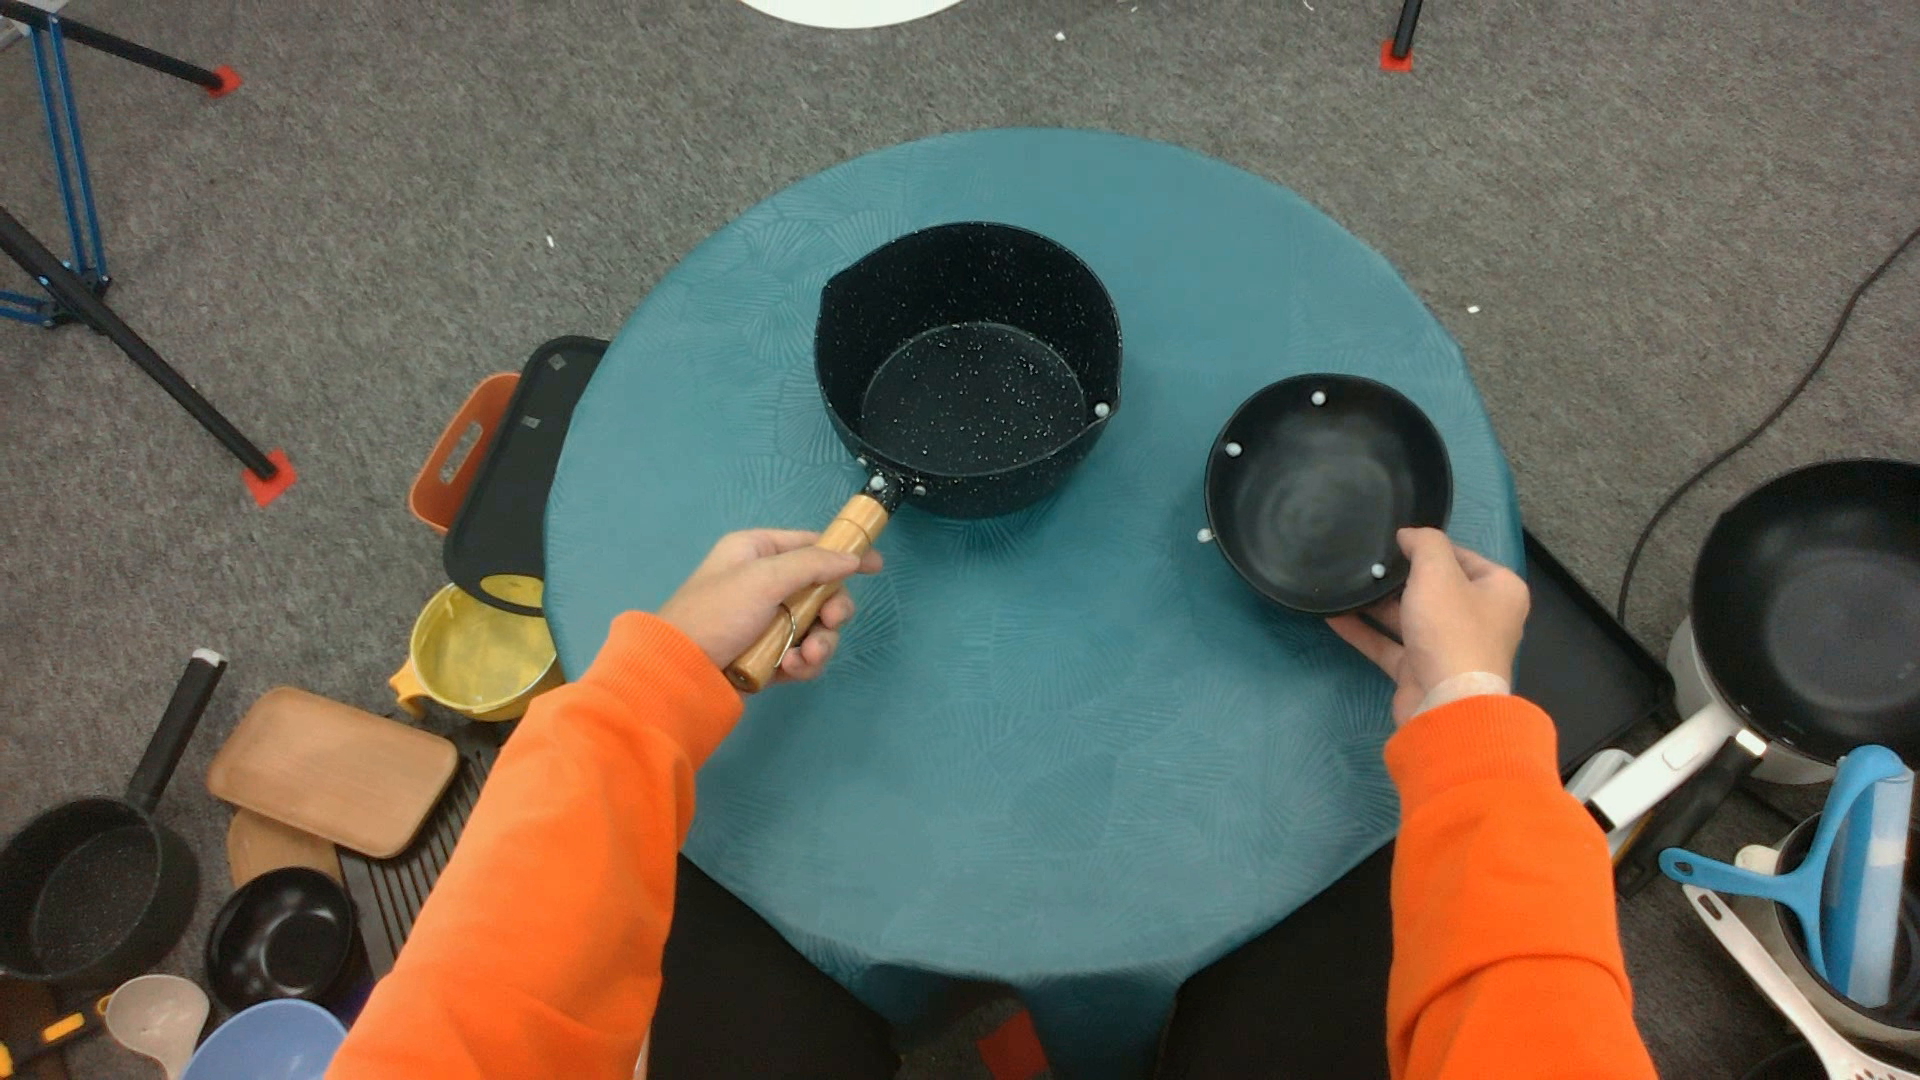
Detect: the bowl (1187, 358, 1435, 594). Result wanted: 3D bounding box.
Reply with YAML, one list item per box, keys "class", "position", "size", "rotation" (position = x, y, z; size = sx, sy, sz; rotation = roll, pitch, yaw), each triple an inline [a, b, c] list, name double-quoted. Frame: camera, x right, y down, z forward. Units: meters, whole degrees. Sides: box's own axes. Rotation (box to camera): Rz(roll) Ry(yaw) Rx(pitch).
- class: "bowl"
  position: [0.202, -0.033, 0.812]
  size: [0.137, 0.066, 0.171]
  rotation: [18, 61, 12]

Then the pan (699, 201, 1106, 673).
- class: "pan"
  position: [-0.042, -0.050, 0.808]
  size: [0.207, 0.108, 0.344]
  rotation: [24, 65, 13]
